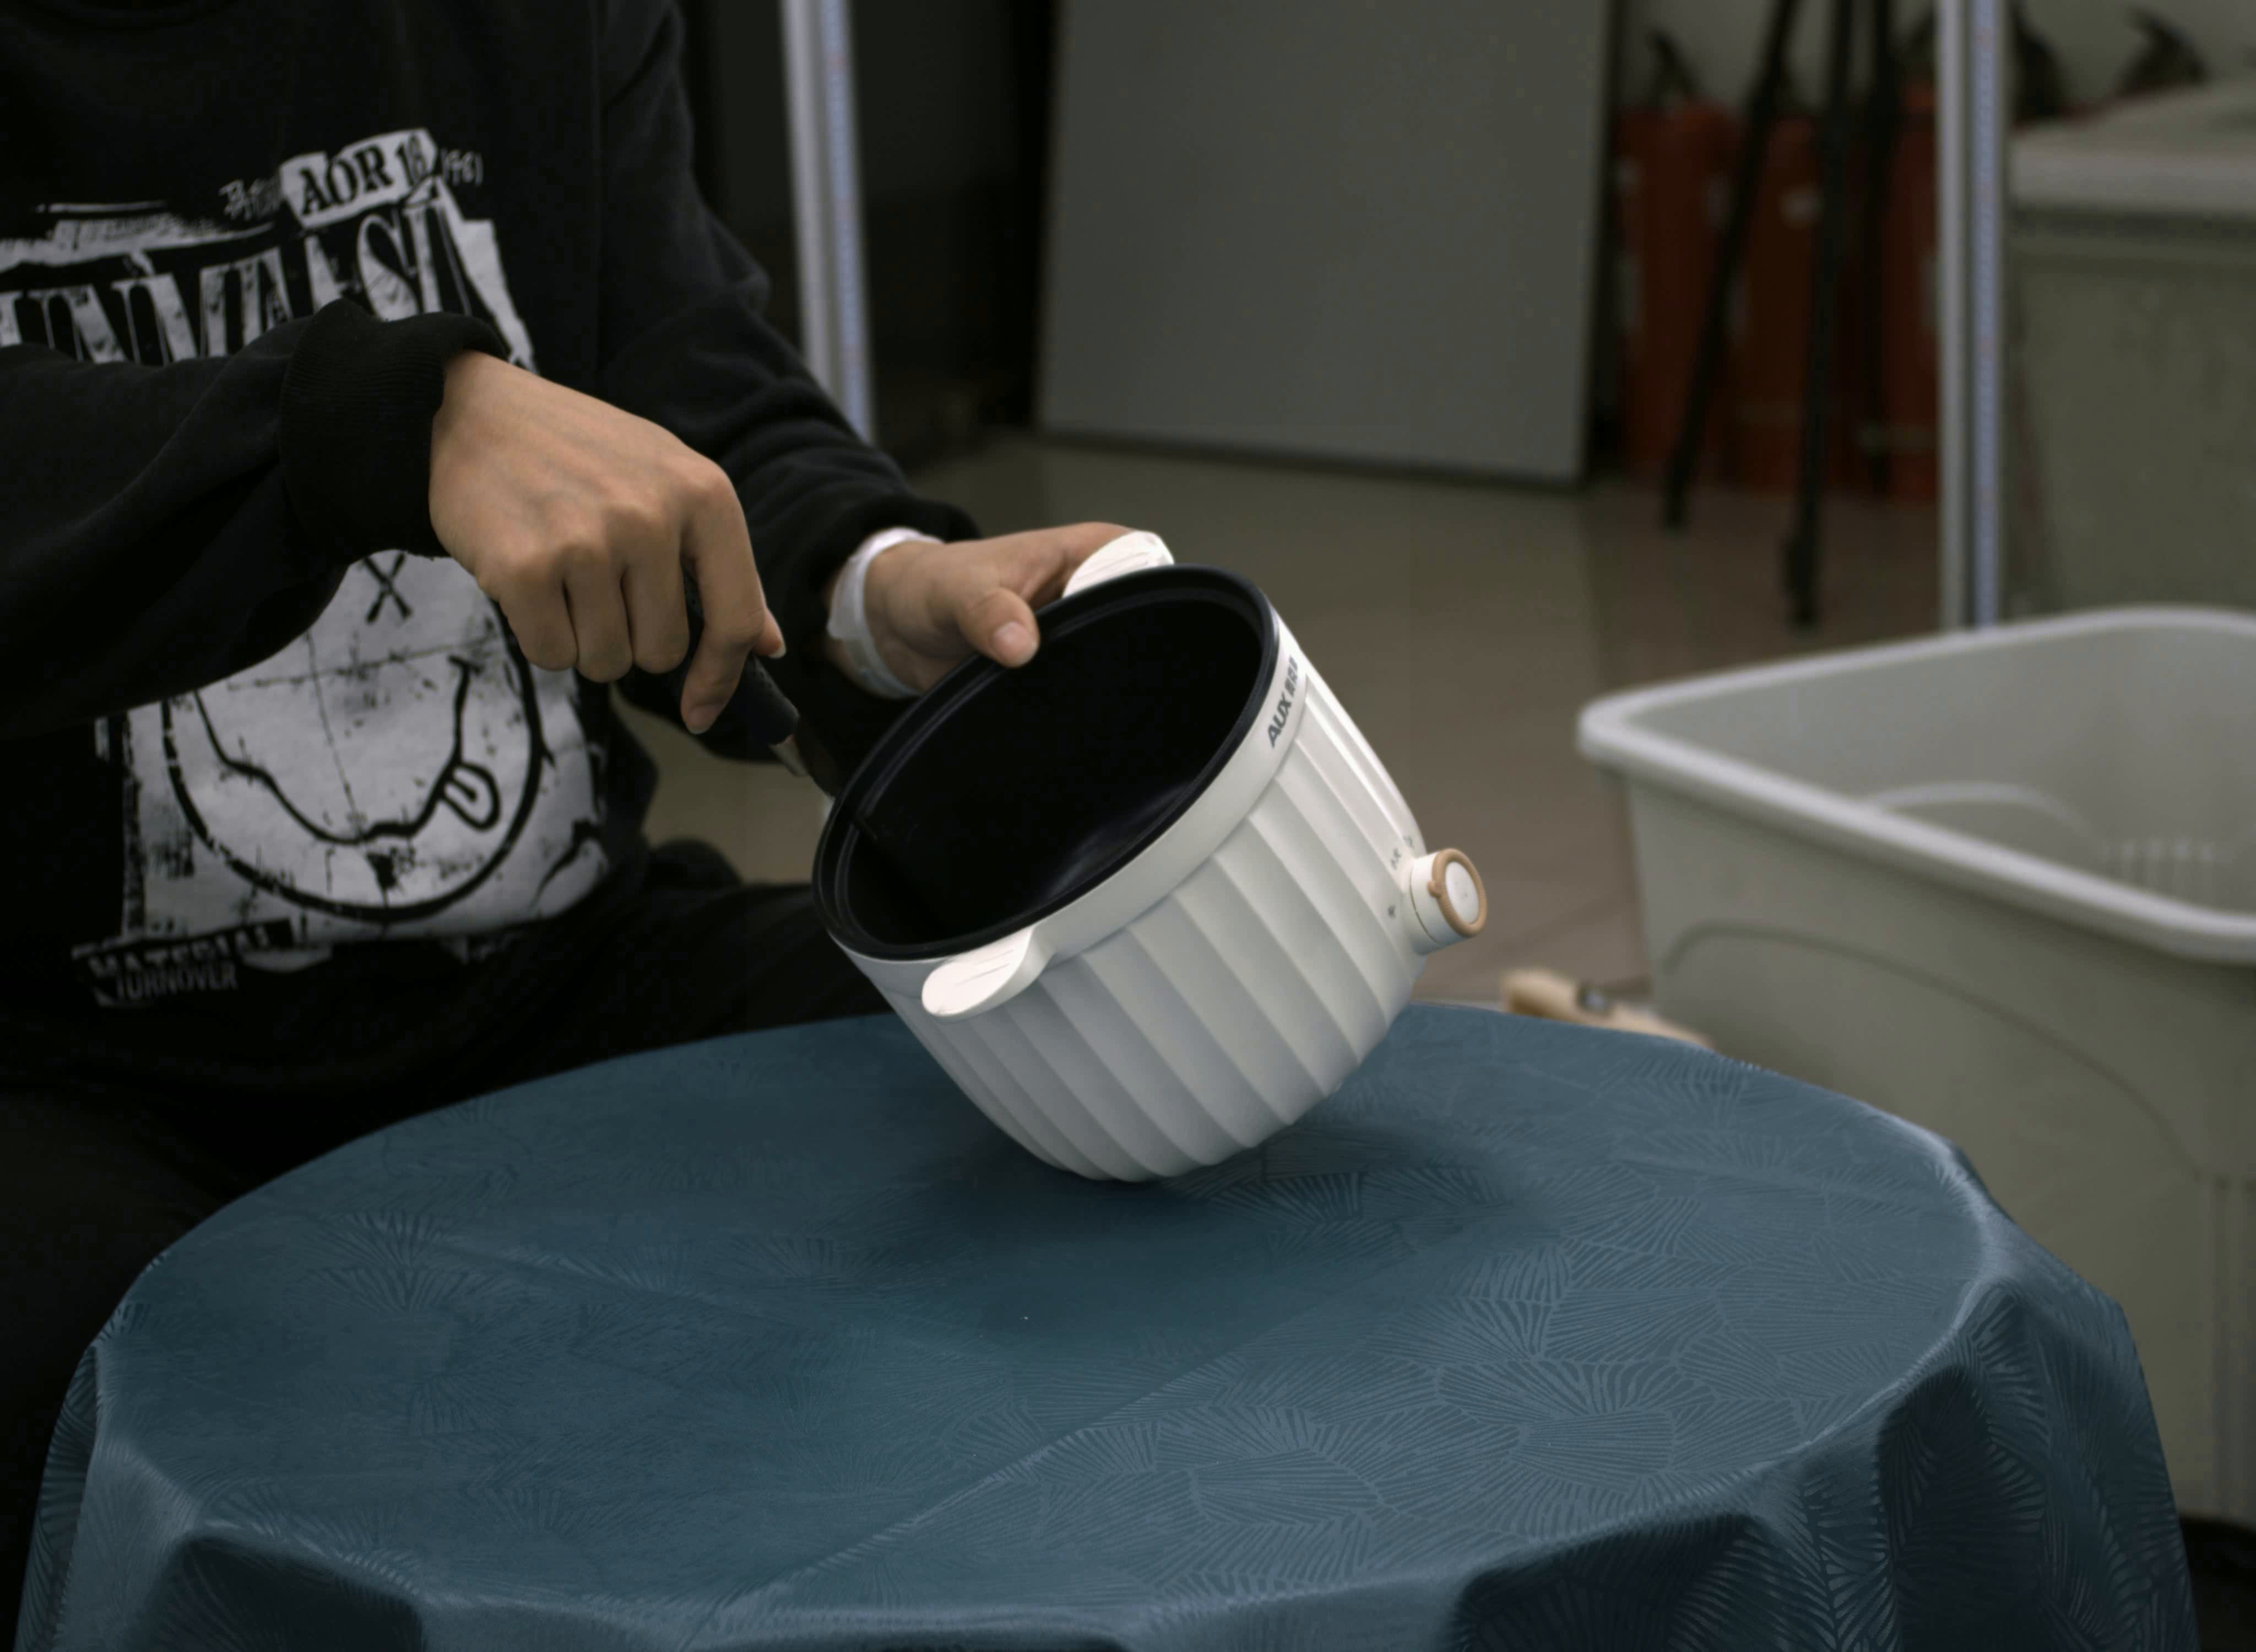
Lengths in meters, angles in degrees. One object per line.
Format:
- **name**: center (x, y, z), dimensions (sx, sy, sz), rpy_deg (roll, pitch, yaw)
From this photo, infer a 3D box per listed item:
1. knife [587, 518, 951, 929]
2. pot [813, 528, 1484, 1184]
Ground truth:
- **knife**: center (-0.106, -0.022, 1.788), dimensions (0.017, 0.223, 0.026), rpy_deg (-37, 28, 6)
- **pot**: center (0.011, 0.019, 1.786), dimensions (0.191, 0.141, 0.241), rpy_deg (-24, 31, 32)
